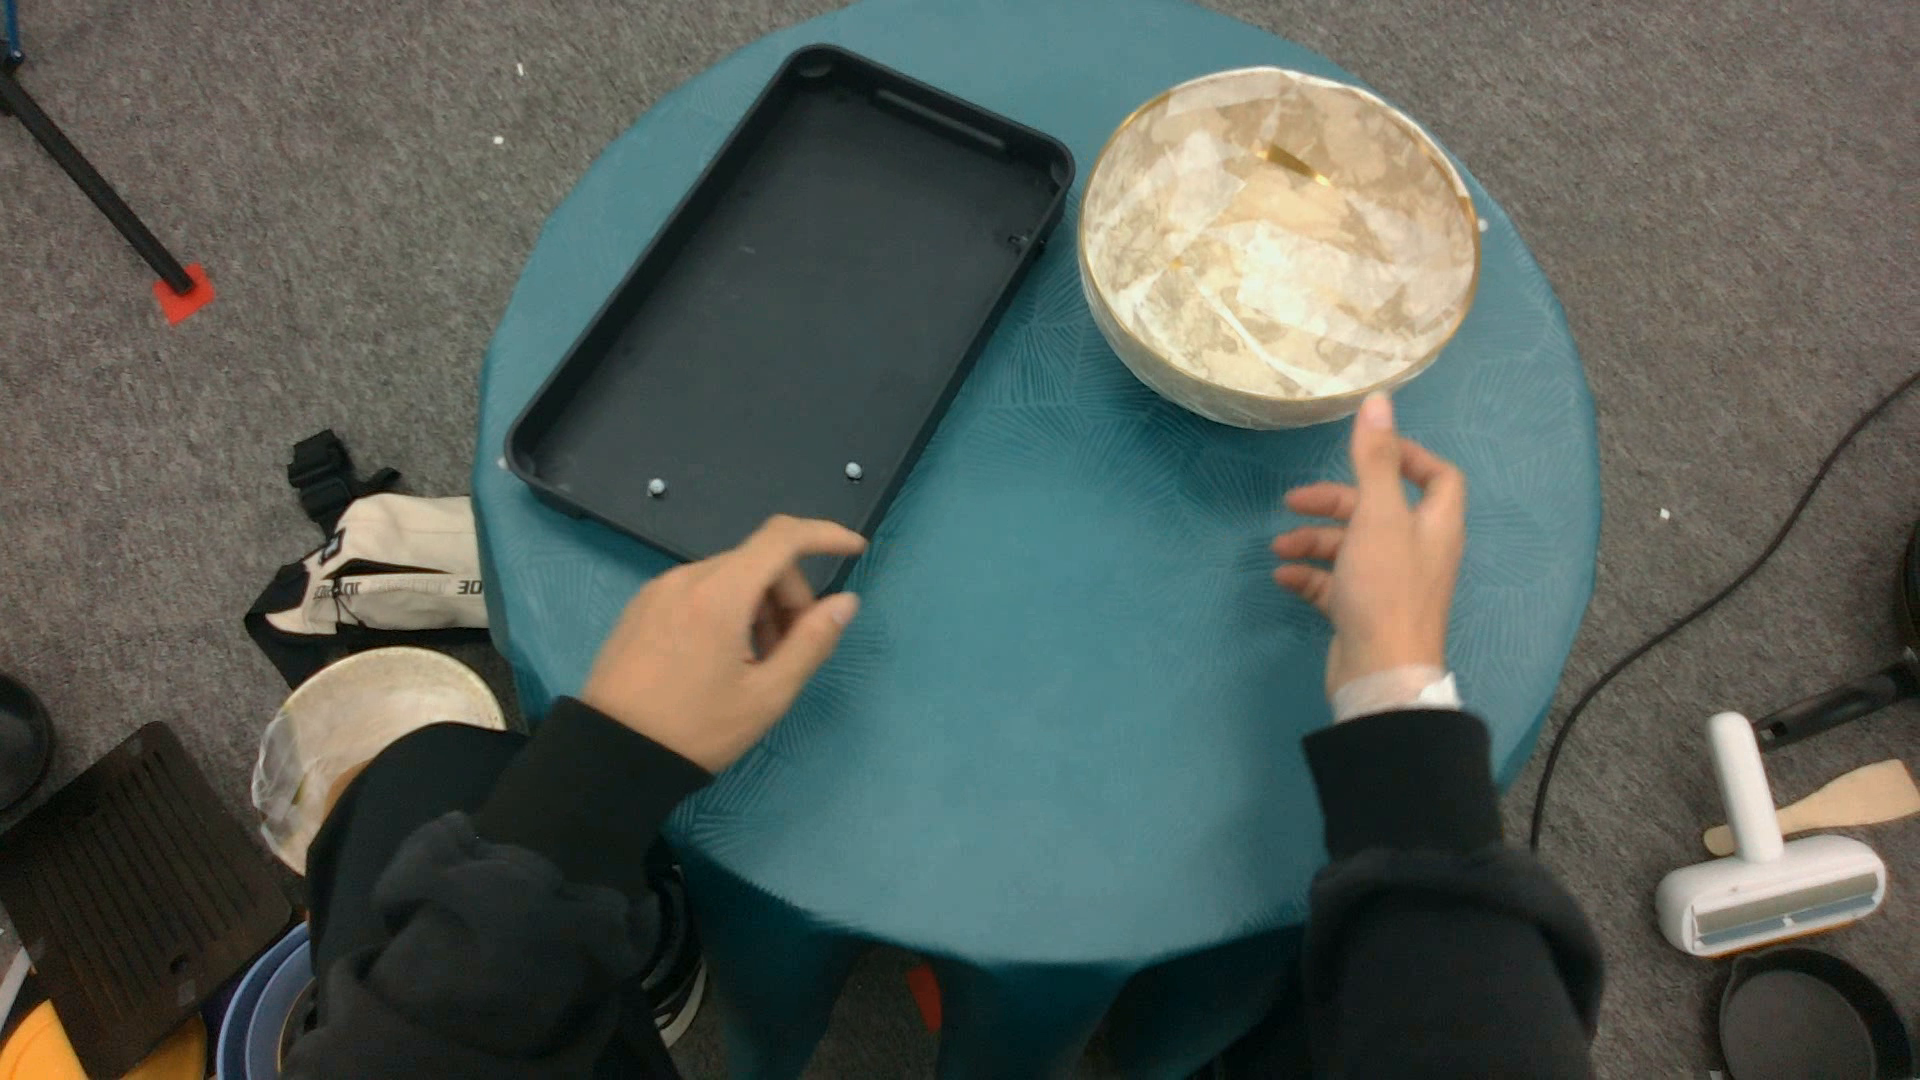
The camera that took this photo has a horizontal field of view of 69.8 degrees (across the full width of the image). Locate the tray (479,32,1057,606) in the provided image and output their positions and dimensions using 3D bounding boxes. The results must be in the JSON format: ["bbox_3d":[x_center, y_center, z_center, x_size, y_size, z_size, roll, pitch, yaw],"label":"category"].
[{"bbox_3d":[-0.093,-0.130,0.739,0.184,0.037,0.319,26,66,9],"label":"tray"}]

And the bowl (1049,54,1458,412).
[{"bbox_3d":[0.142,-0.145,0.727,0.215,0.094,0.215,2,66,-4],"label":"bowl"}]
